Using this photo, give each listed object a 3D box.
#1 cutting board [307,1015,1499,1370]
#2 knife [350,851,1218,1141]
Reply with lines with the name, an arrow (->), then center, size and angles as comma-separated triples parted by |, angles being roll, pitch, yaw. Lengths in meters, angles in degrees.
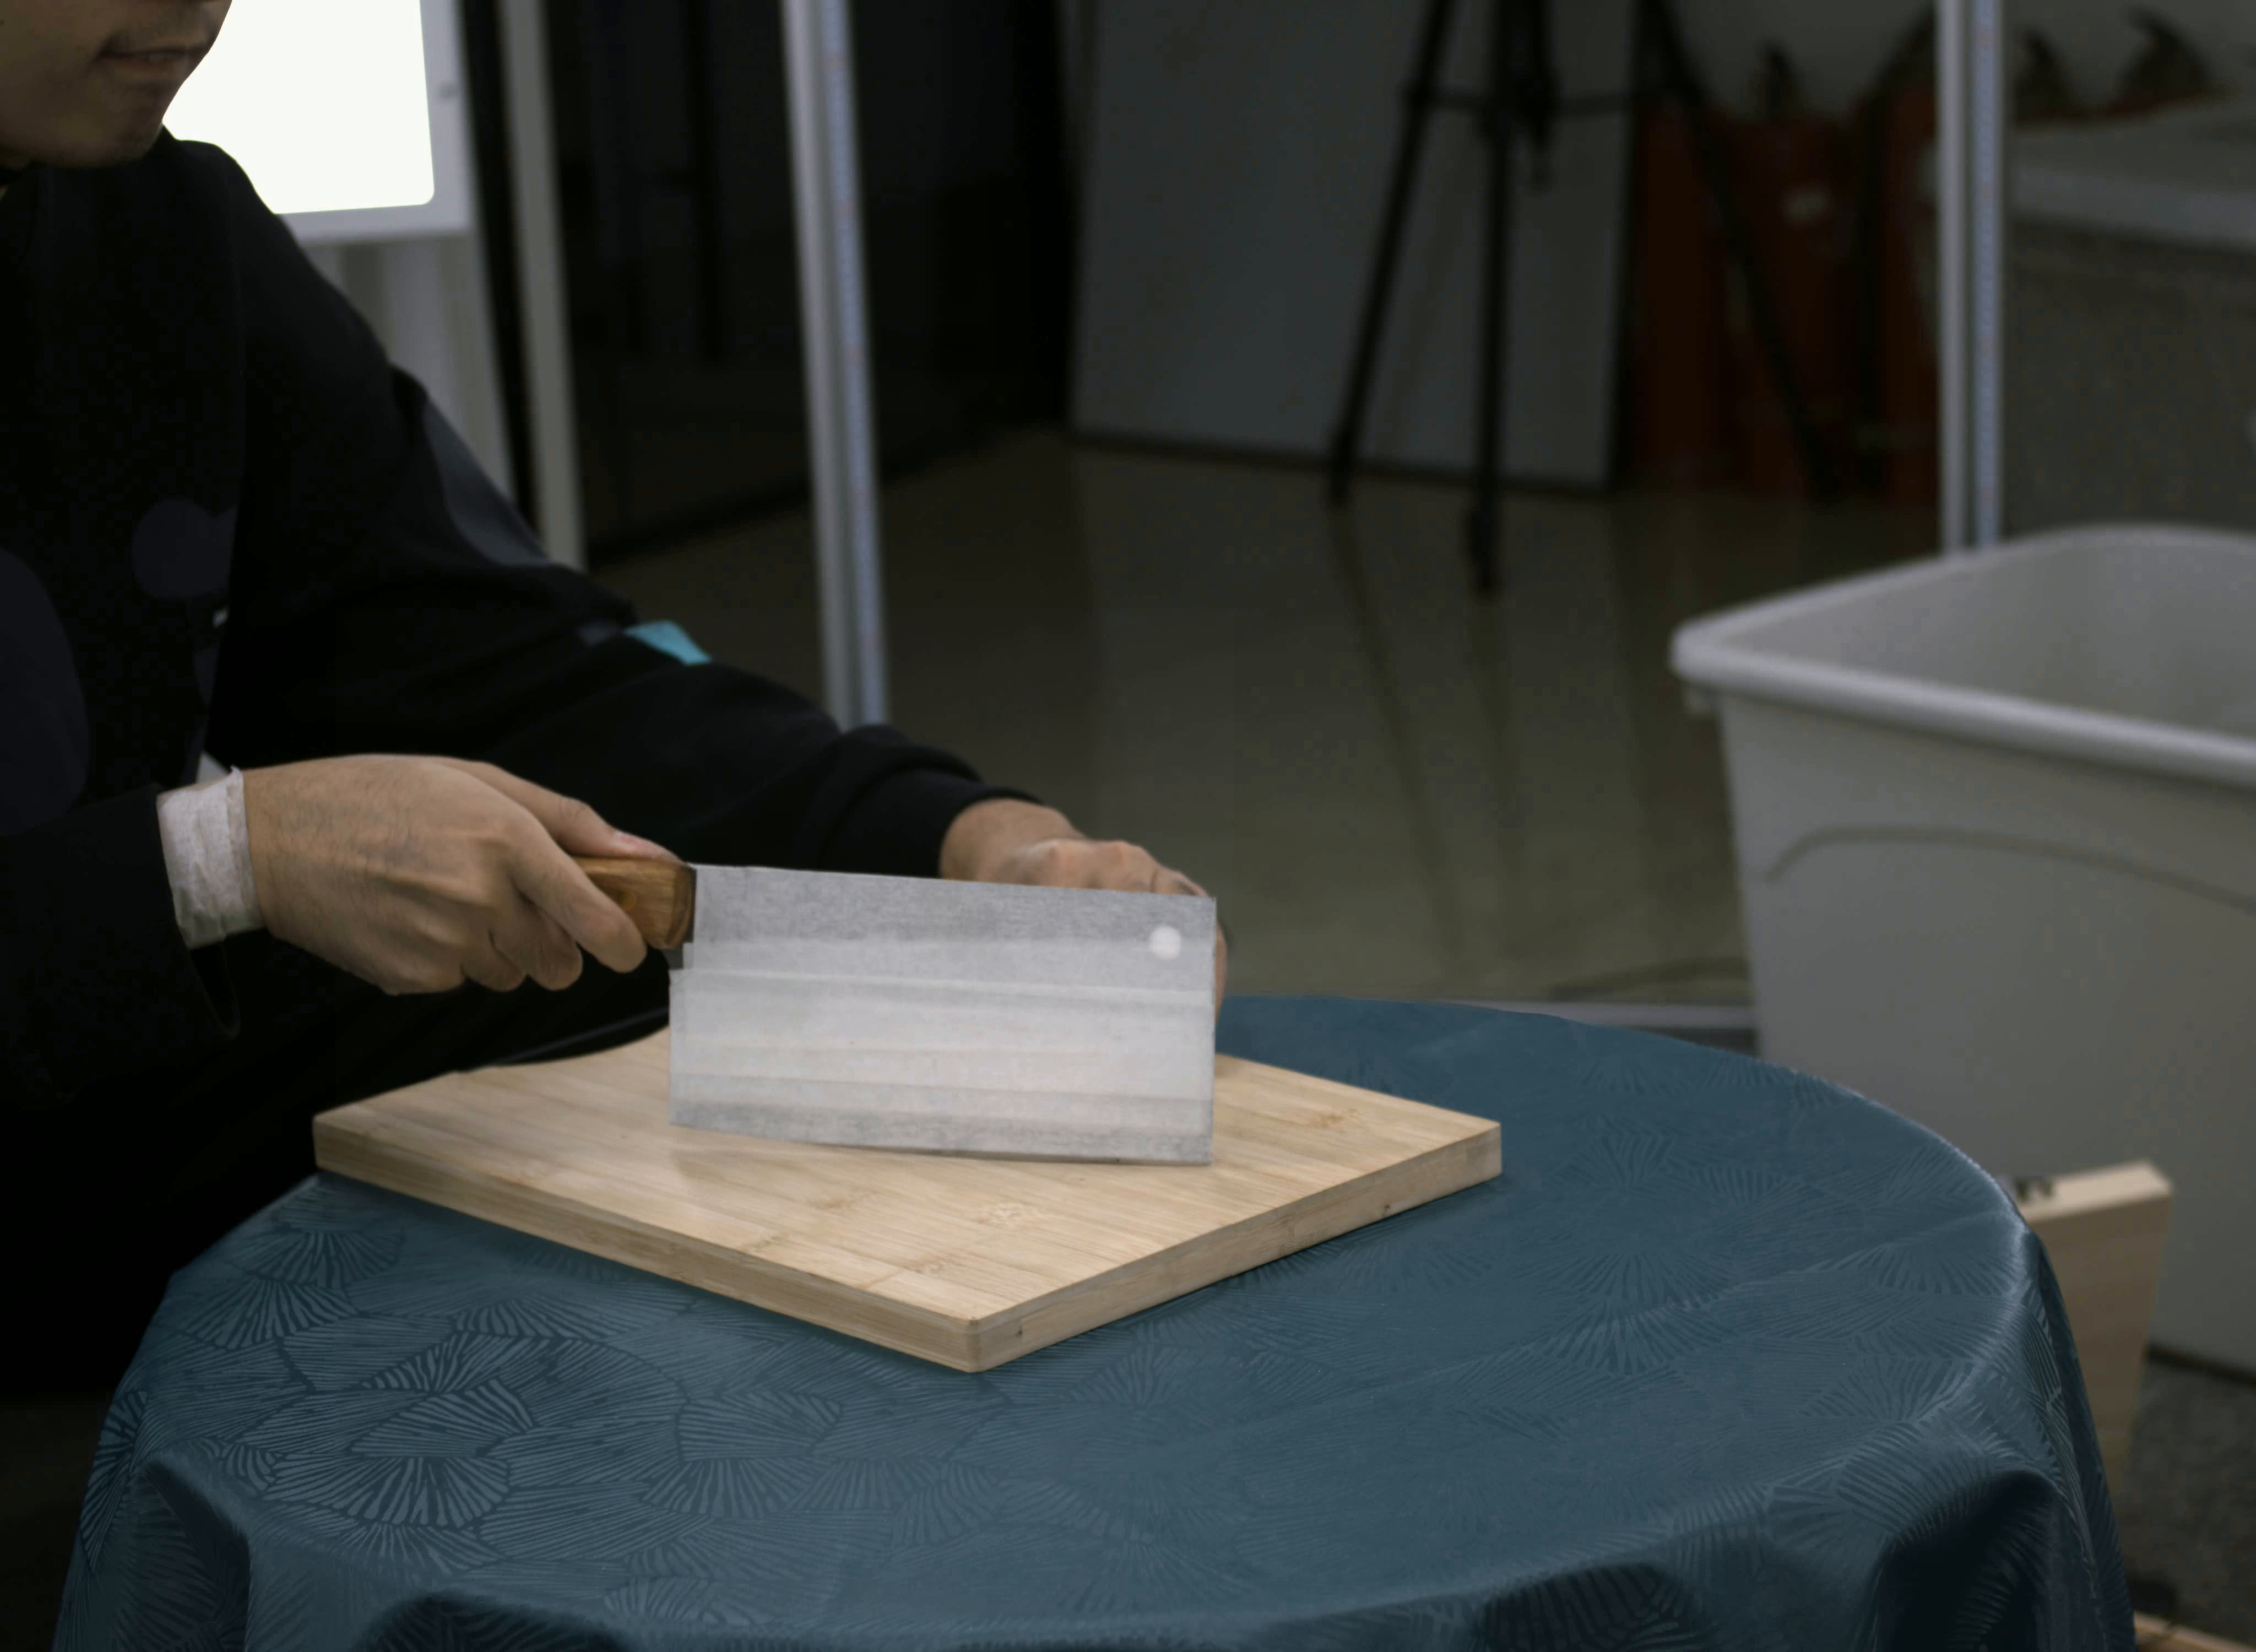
cutting board -> -0.080, 0.109, 1.811 | 0.245, 0.024, 0.352 | -17, 19, -41
knife -> -0.115, 0.057, 1.771 | 0.305, 0.094, 0.021 | 3, 8, 19
